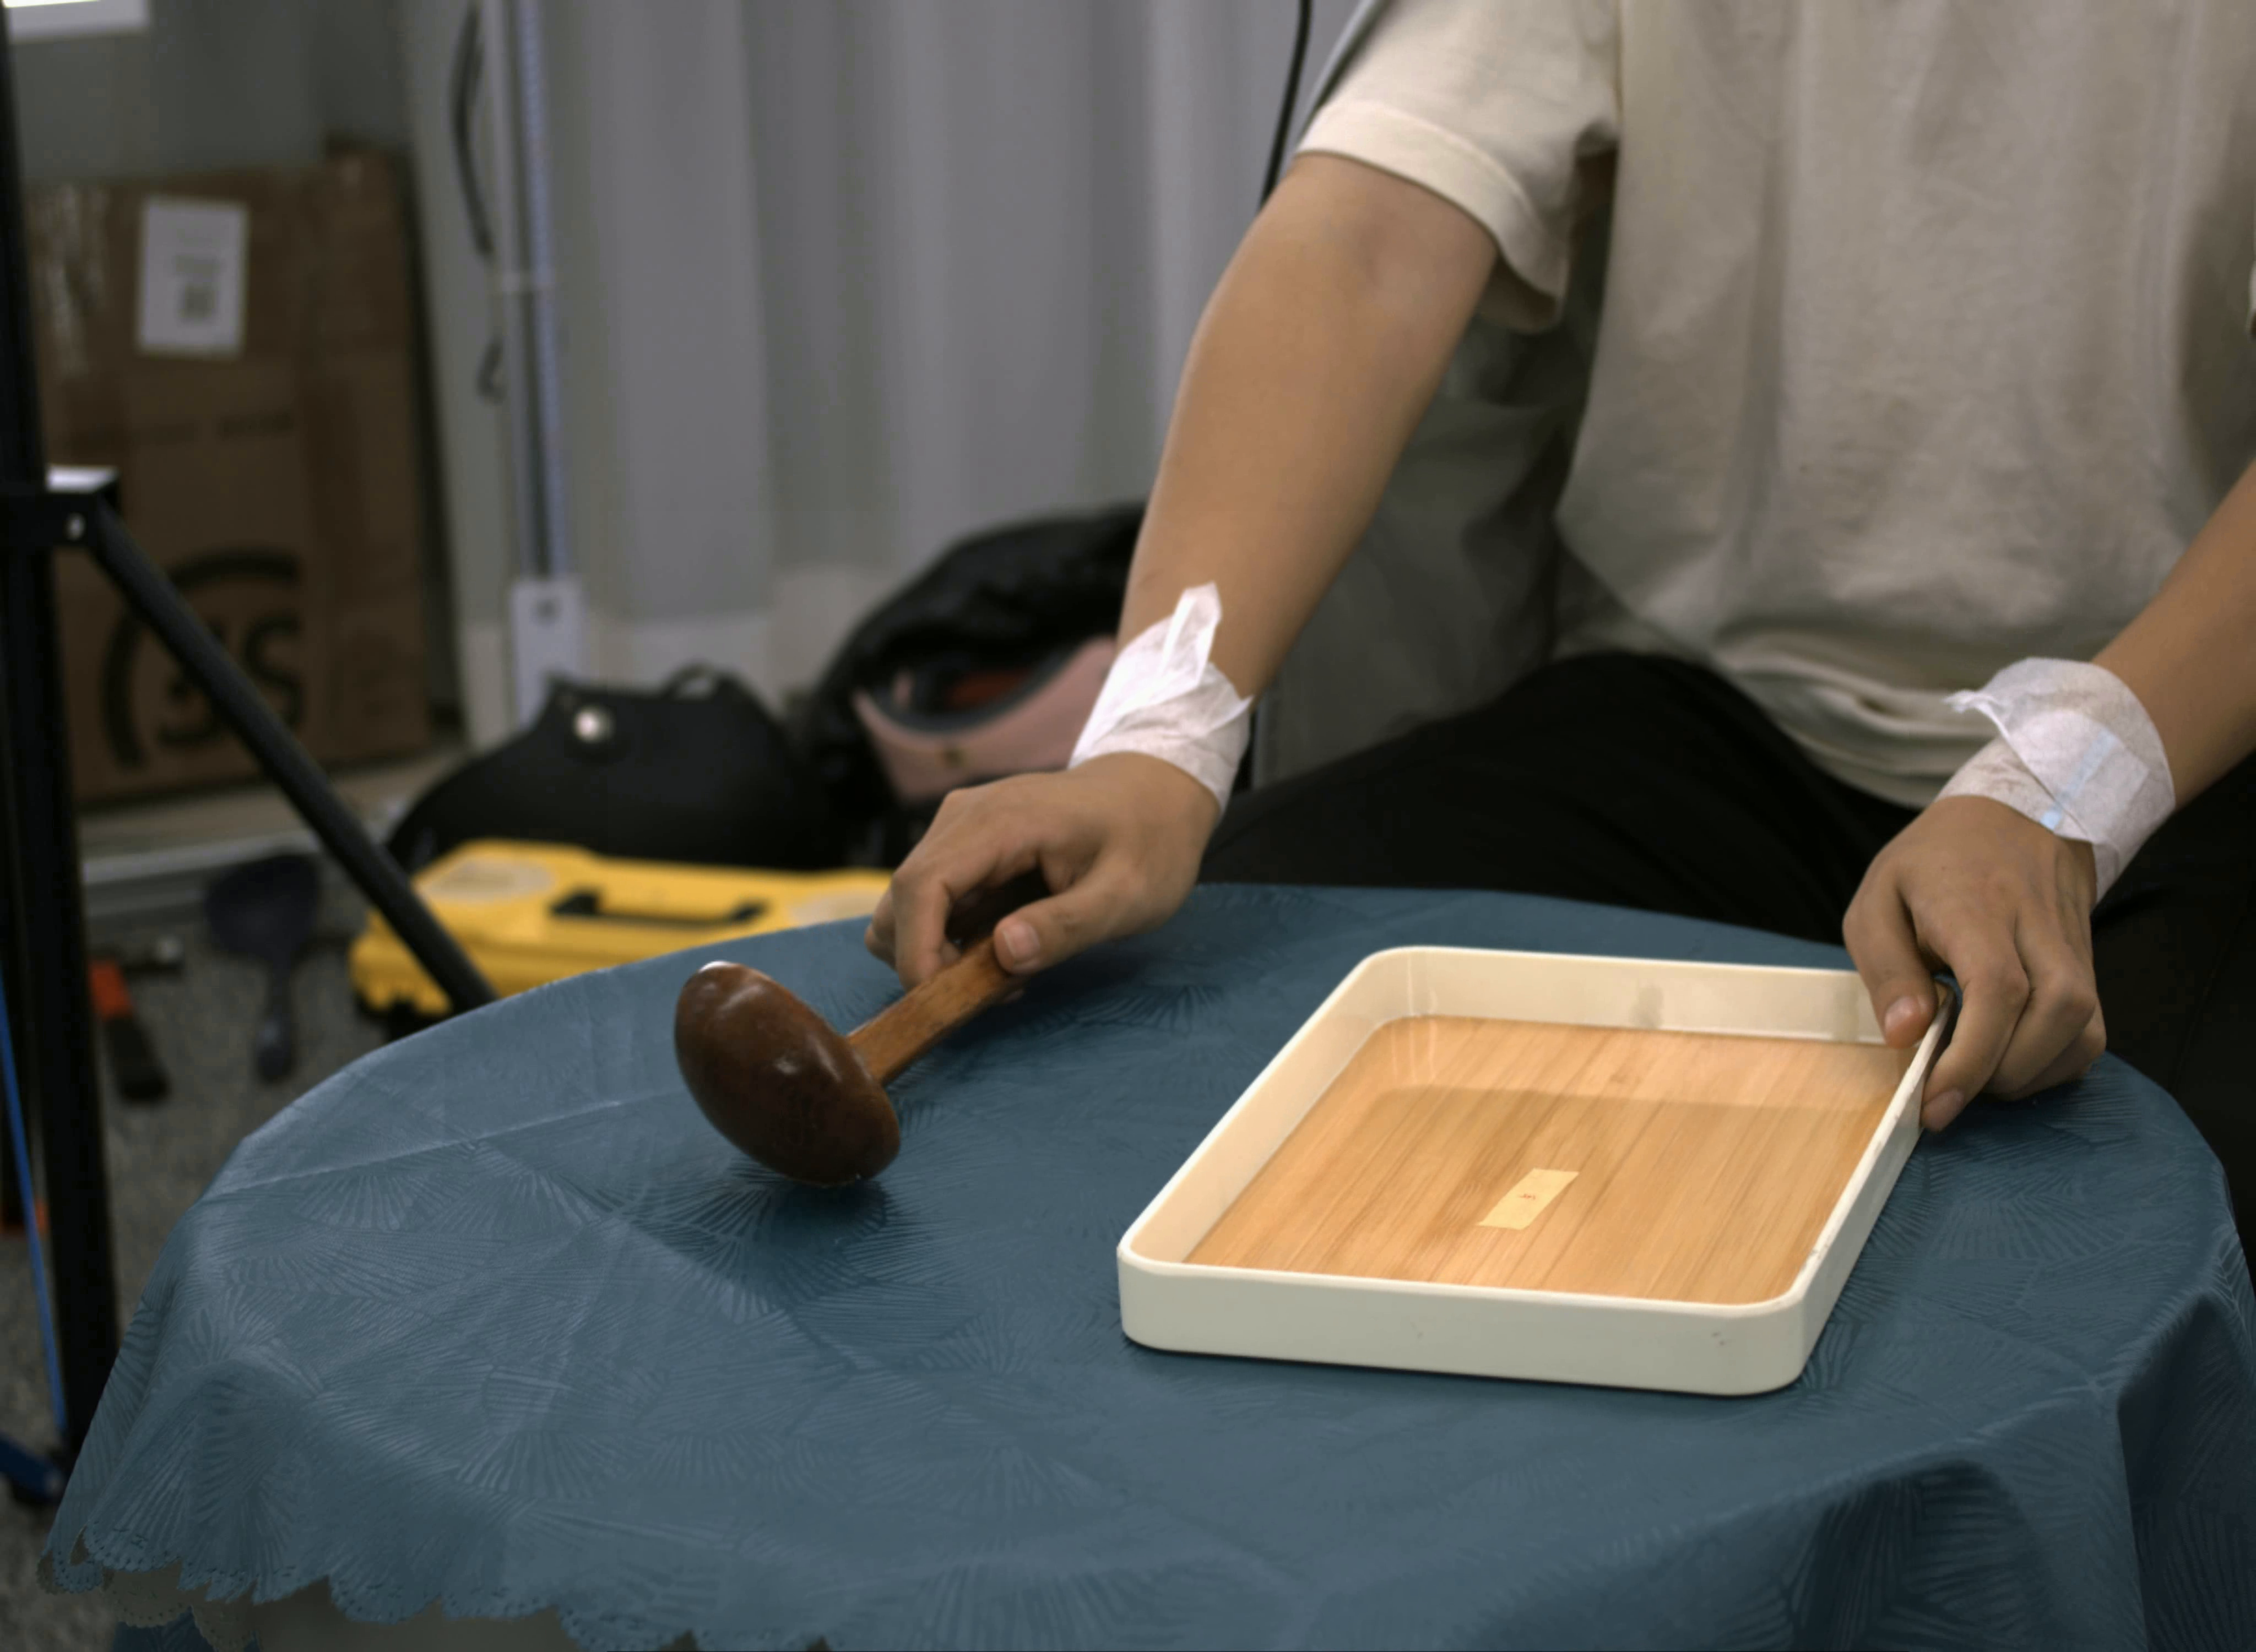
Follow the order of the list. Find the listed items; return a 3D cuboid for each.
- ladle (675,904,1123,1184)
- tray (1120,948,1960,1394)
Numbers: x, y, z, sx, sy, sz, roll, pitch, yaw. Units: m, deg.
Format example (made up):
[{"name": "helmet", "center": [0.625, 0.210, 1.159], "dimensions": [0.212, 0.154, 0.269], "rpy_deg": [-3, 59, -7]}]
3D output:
[{"name": "ladle", "center": [-0.054, 0.045, 1.648], "dimensions": [0.082, 0.077, 0.269], "rpy_deg": [46, 30, 9]}, {"name": "tray", "center": [0.127, 0.095, 1.532], "dimensions": [0.193, 0.027, 0.297], "rpy_deg": [2, 16, 18]}]
